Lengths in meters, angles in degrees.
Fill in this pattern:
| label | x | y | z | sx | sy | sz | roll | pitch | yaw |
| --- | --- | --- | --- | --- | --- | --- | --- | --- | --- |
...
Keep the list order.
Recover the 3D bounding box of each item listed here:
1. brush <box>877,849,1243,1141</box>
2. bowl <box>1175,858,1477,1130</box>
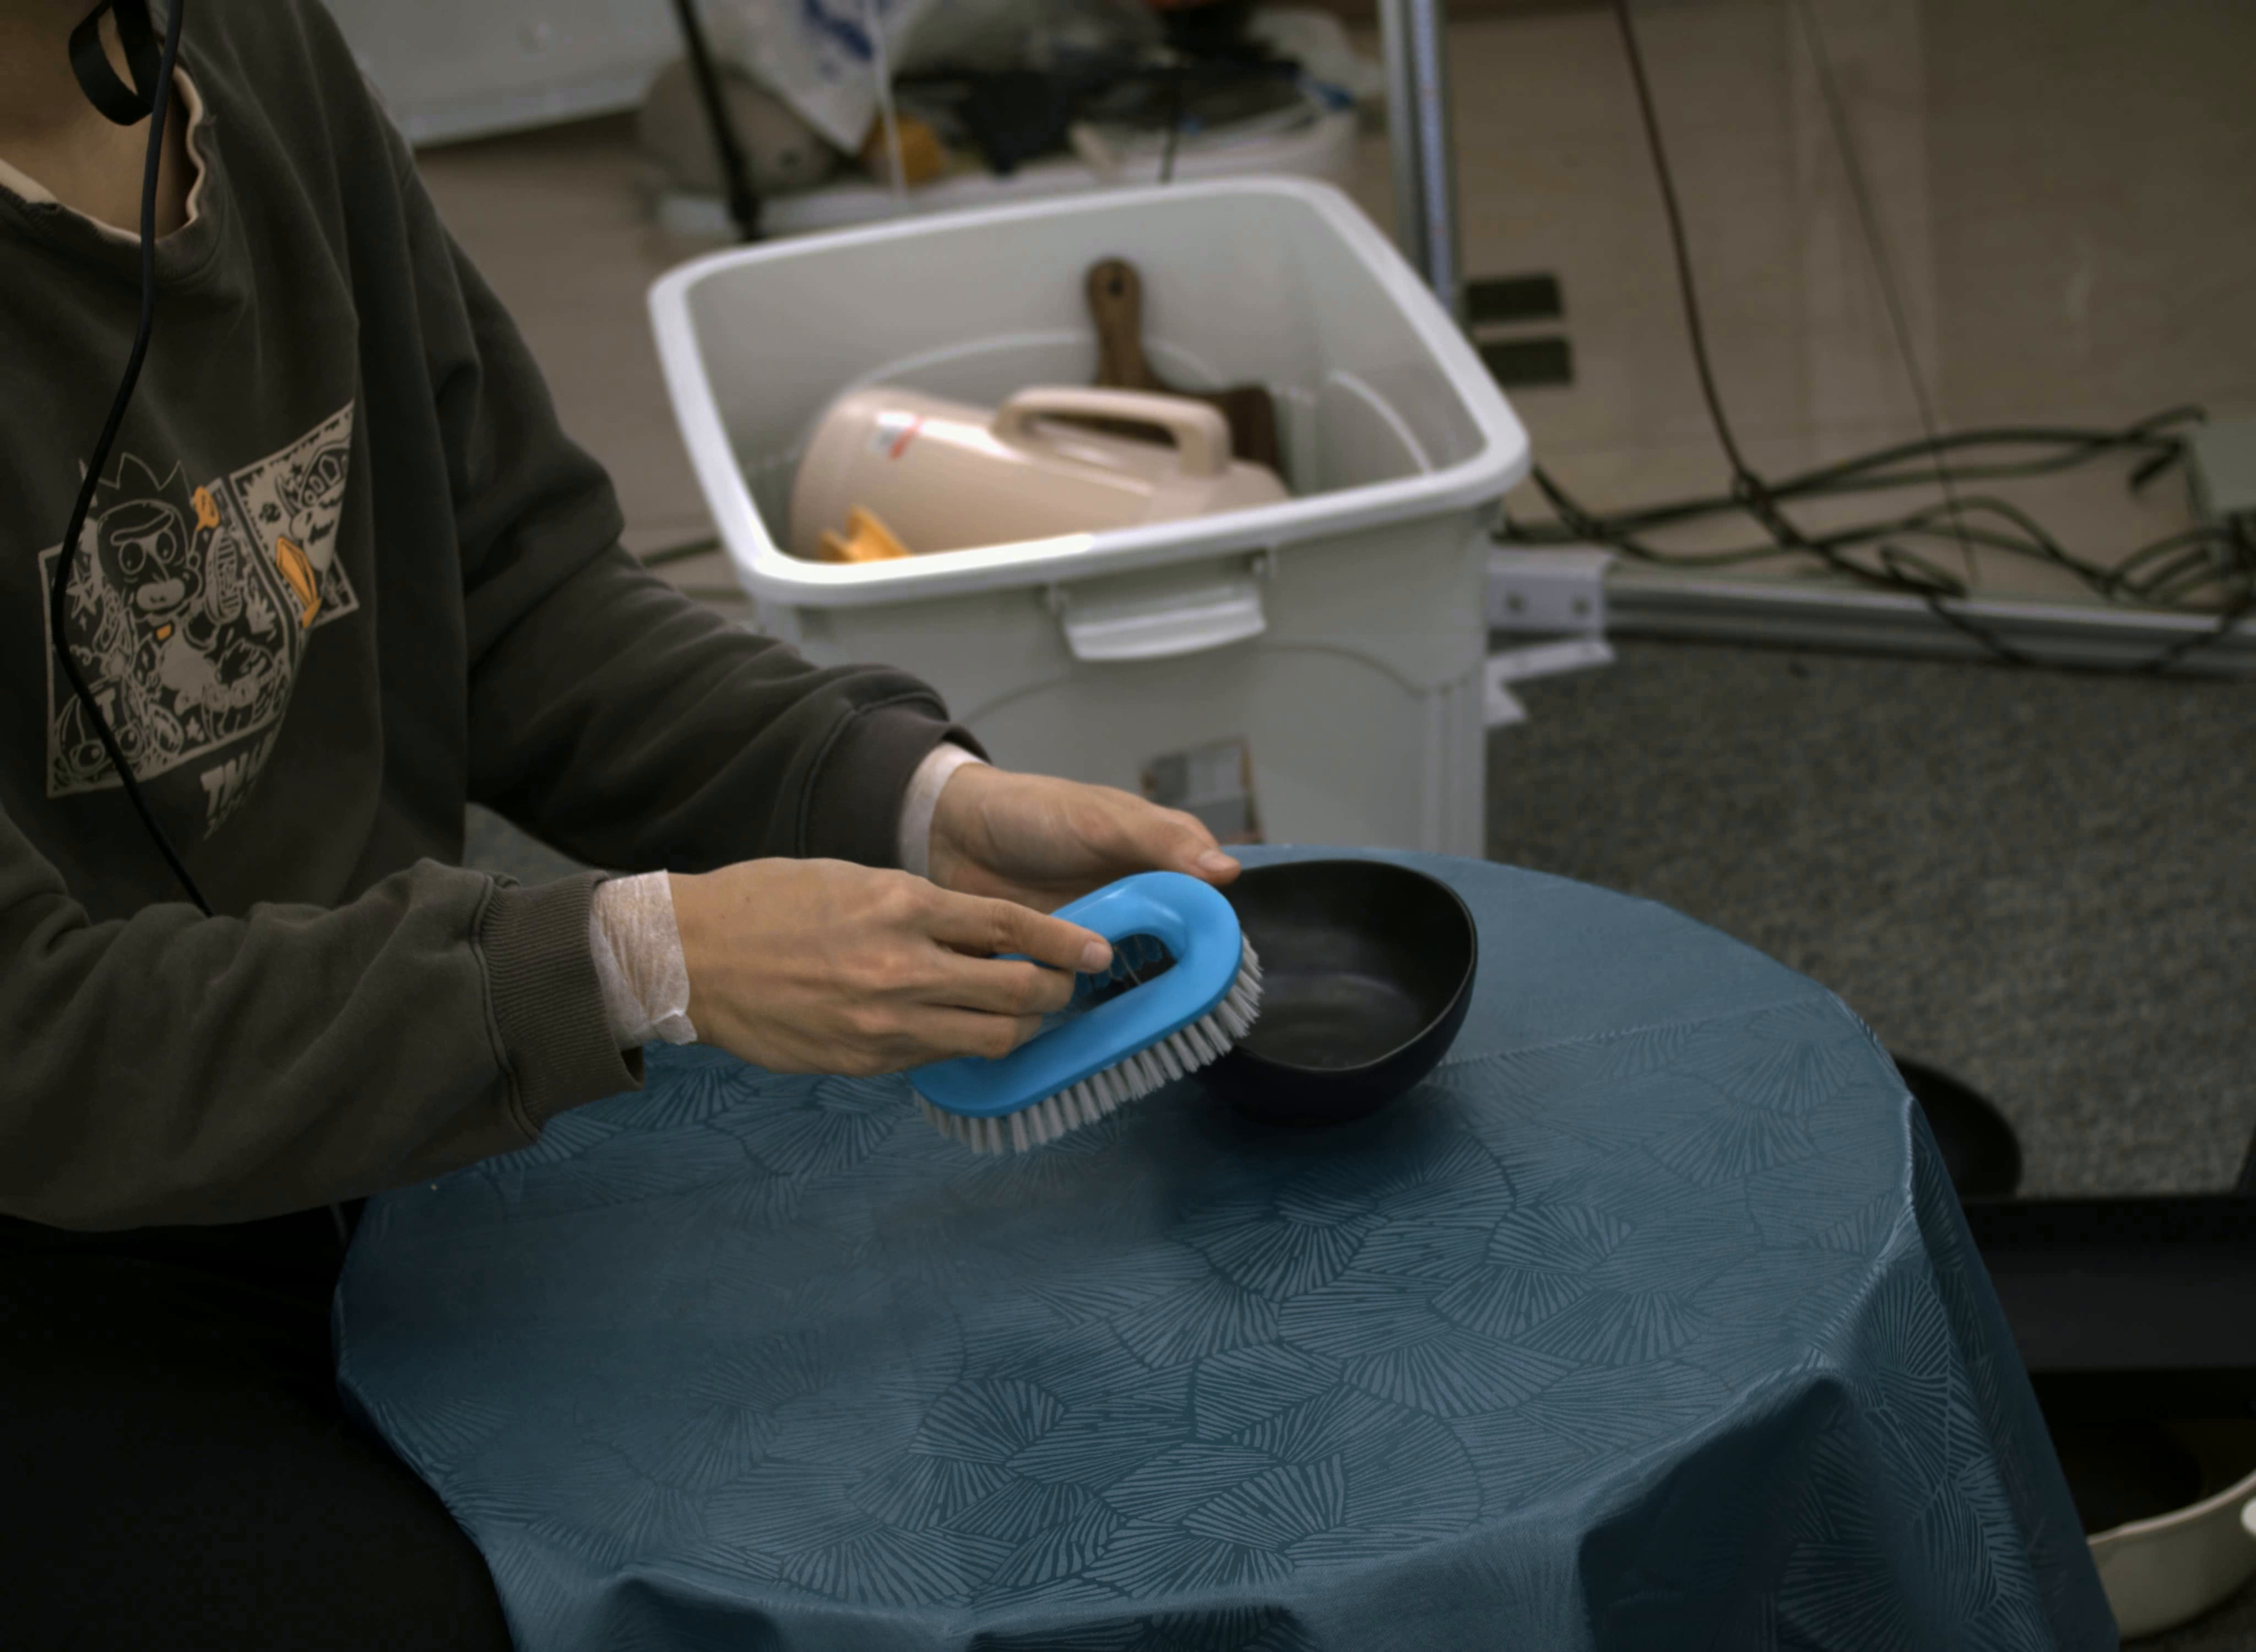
| label | x | y | z | sx | sy | sz | roll | pitch | yaw |
| --- | --- | --- | --- | --- | --- | --- | --- | --- | --- |
| brush | -0.026 | 0.057 | 2.104 | 0.141 | 0.065 | 0.083 | -25 | 56 | -1 |
| bowl | 0.069 | 0.073 | 2.196 | 0.137 | 0.068 | 0.168 | -13 | 27 | -11 |
